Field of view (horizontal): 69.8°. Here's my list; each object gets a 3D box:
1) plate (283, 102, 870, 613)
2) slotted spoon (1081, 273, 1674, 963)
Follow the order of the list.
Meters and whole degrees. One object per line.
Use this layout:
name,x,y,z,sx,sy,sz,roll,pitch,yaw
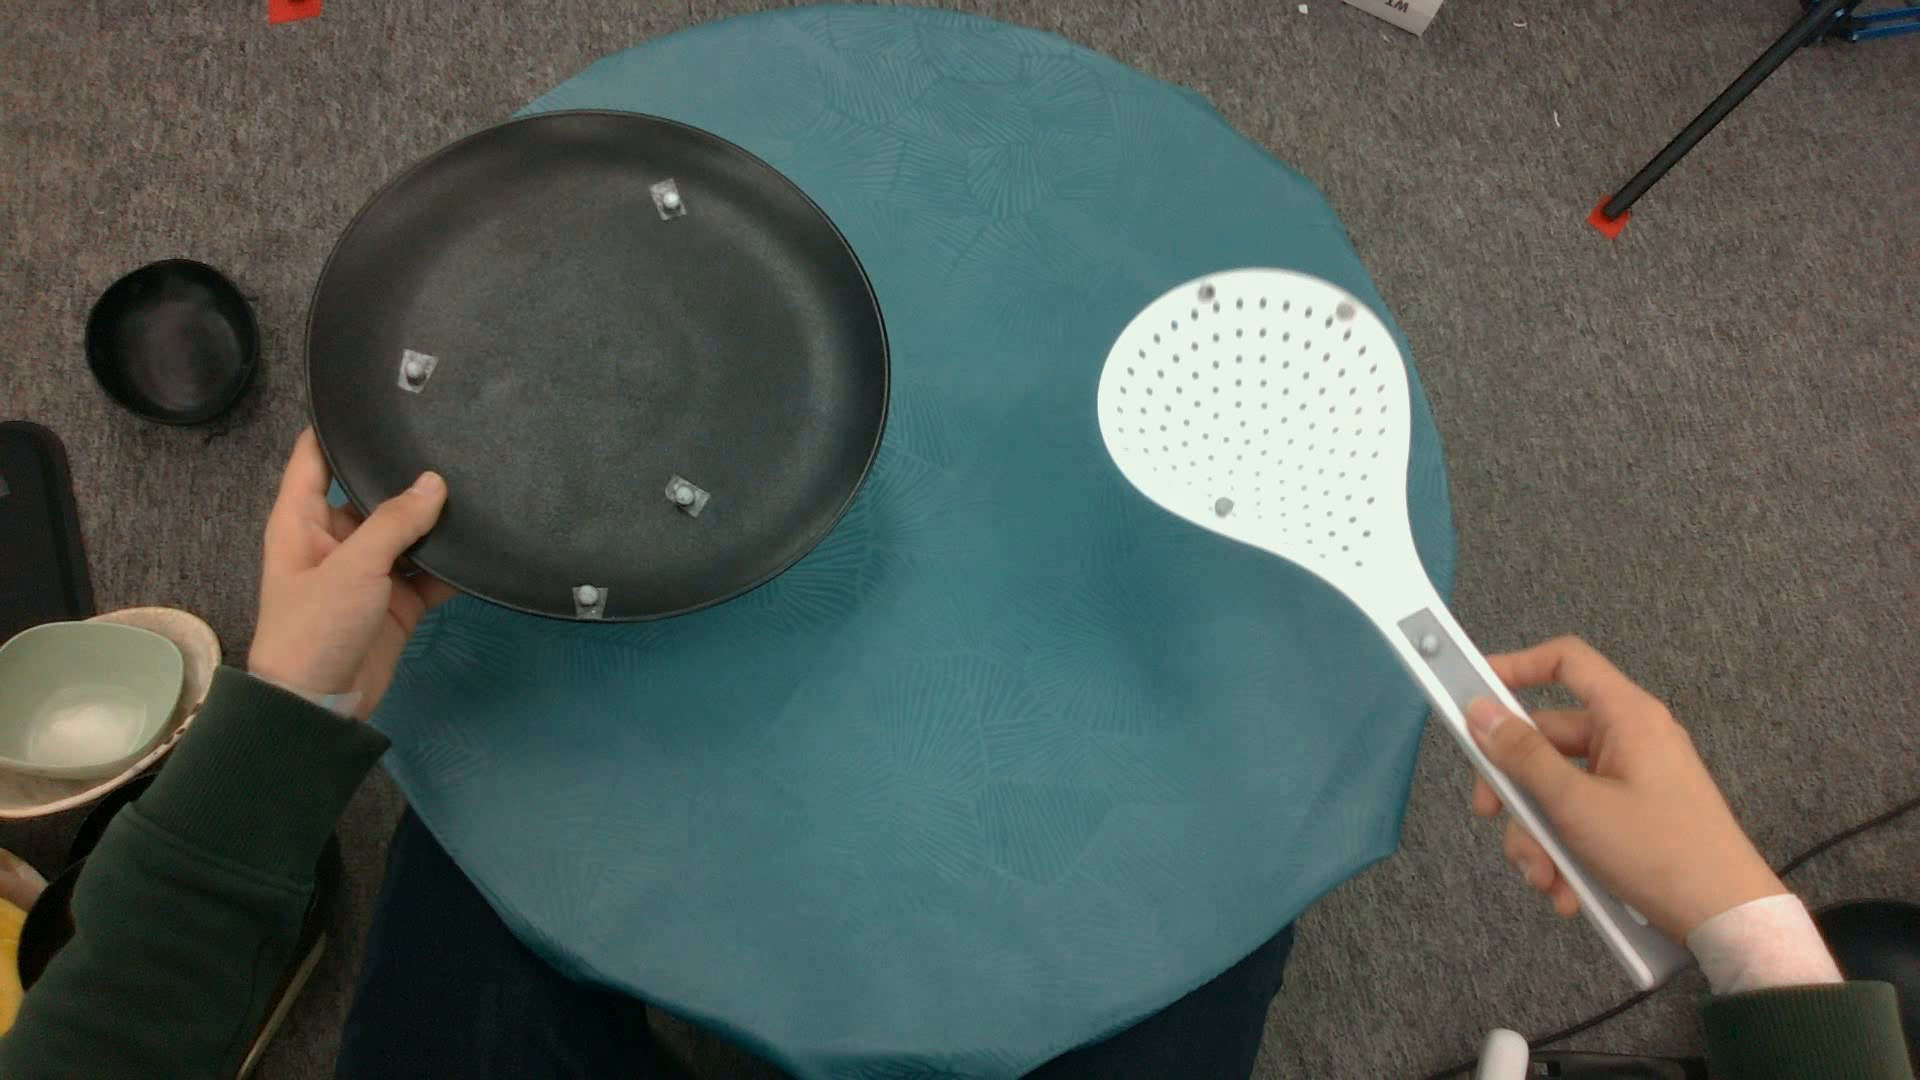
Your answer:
plate,-0.161,-0.083,0.602,0.244,0.023,0.245,5,70,-13
slotted spoon,0.171,0.015,0.580,0.136,0.045,0.350,-27,55,-5
